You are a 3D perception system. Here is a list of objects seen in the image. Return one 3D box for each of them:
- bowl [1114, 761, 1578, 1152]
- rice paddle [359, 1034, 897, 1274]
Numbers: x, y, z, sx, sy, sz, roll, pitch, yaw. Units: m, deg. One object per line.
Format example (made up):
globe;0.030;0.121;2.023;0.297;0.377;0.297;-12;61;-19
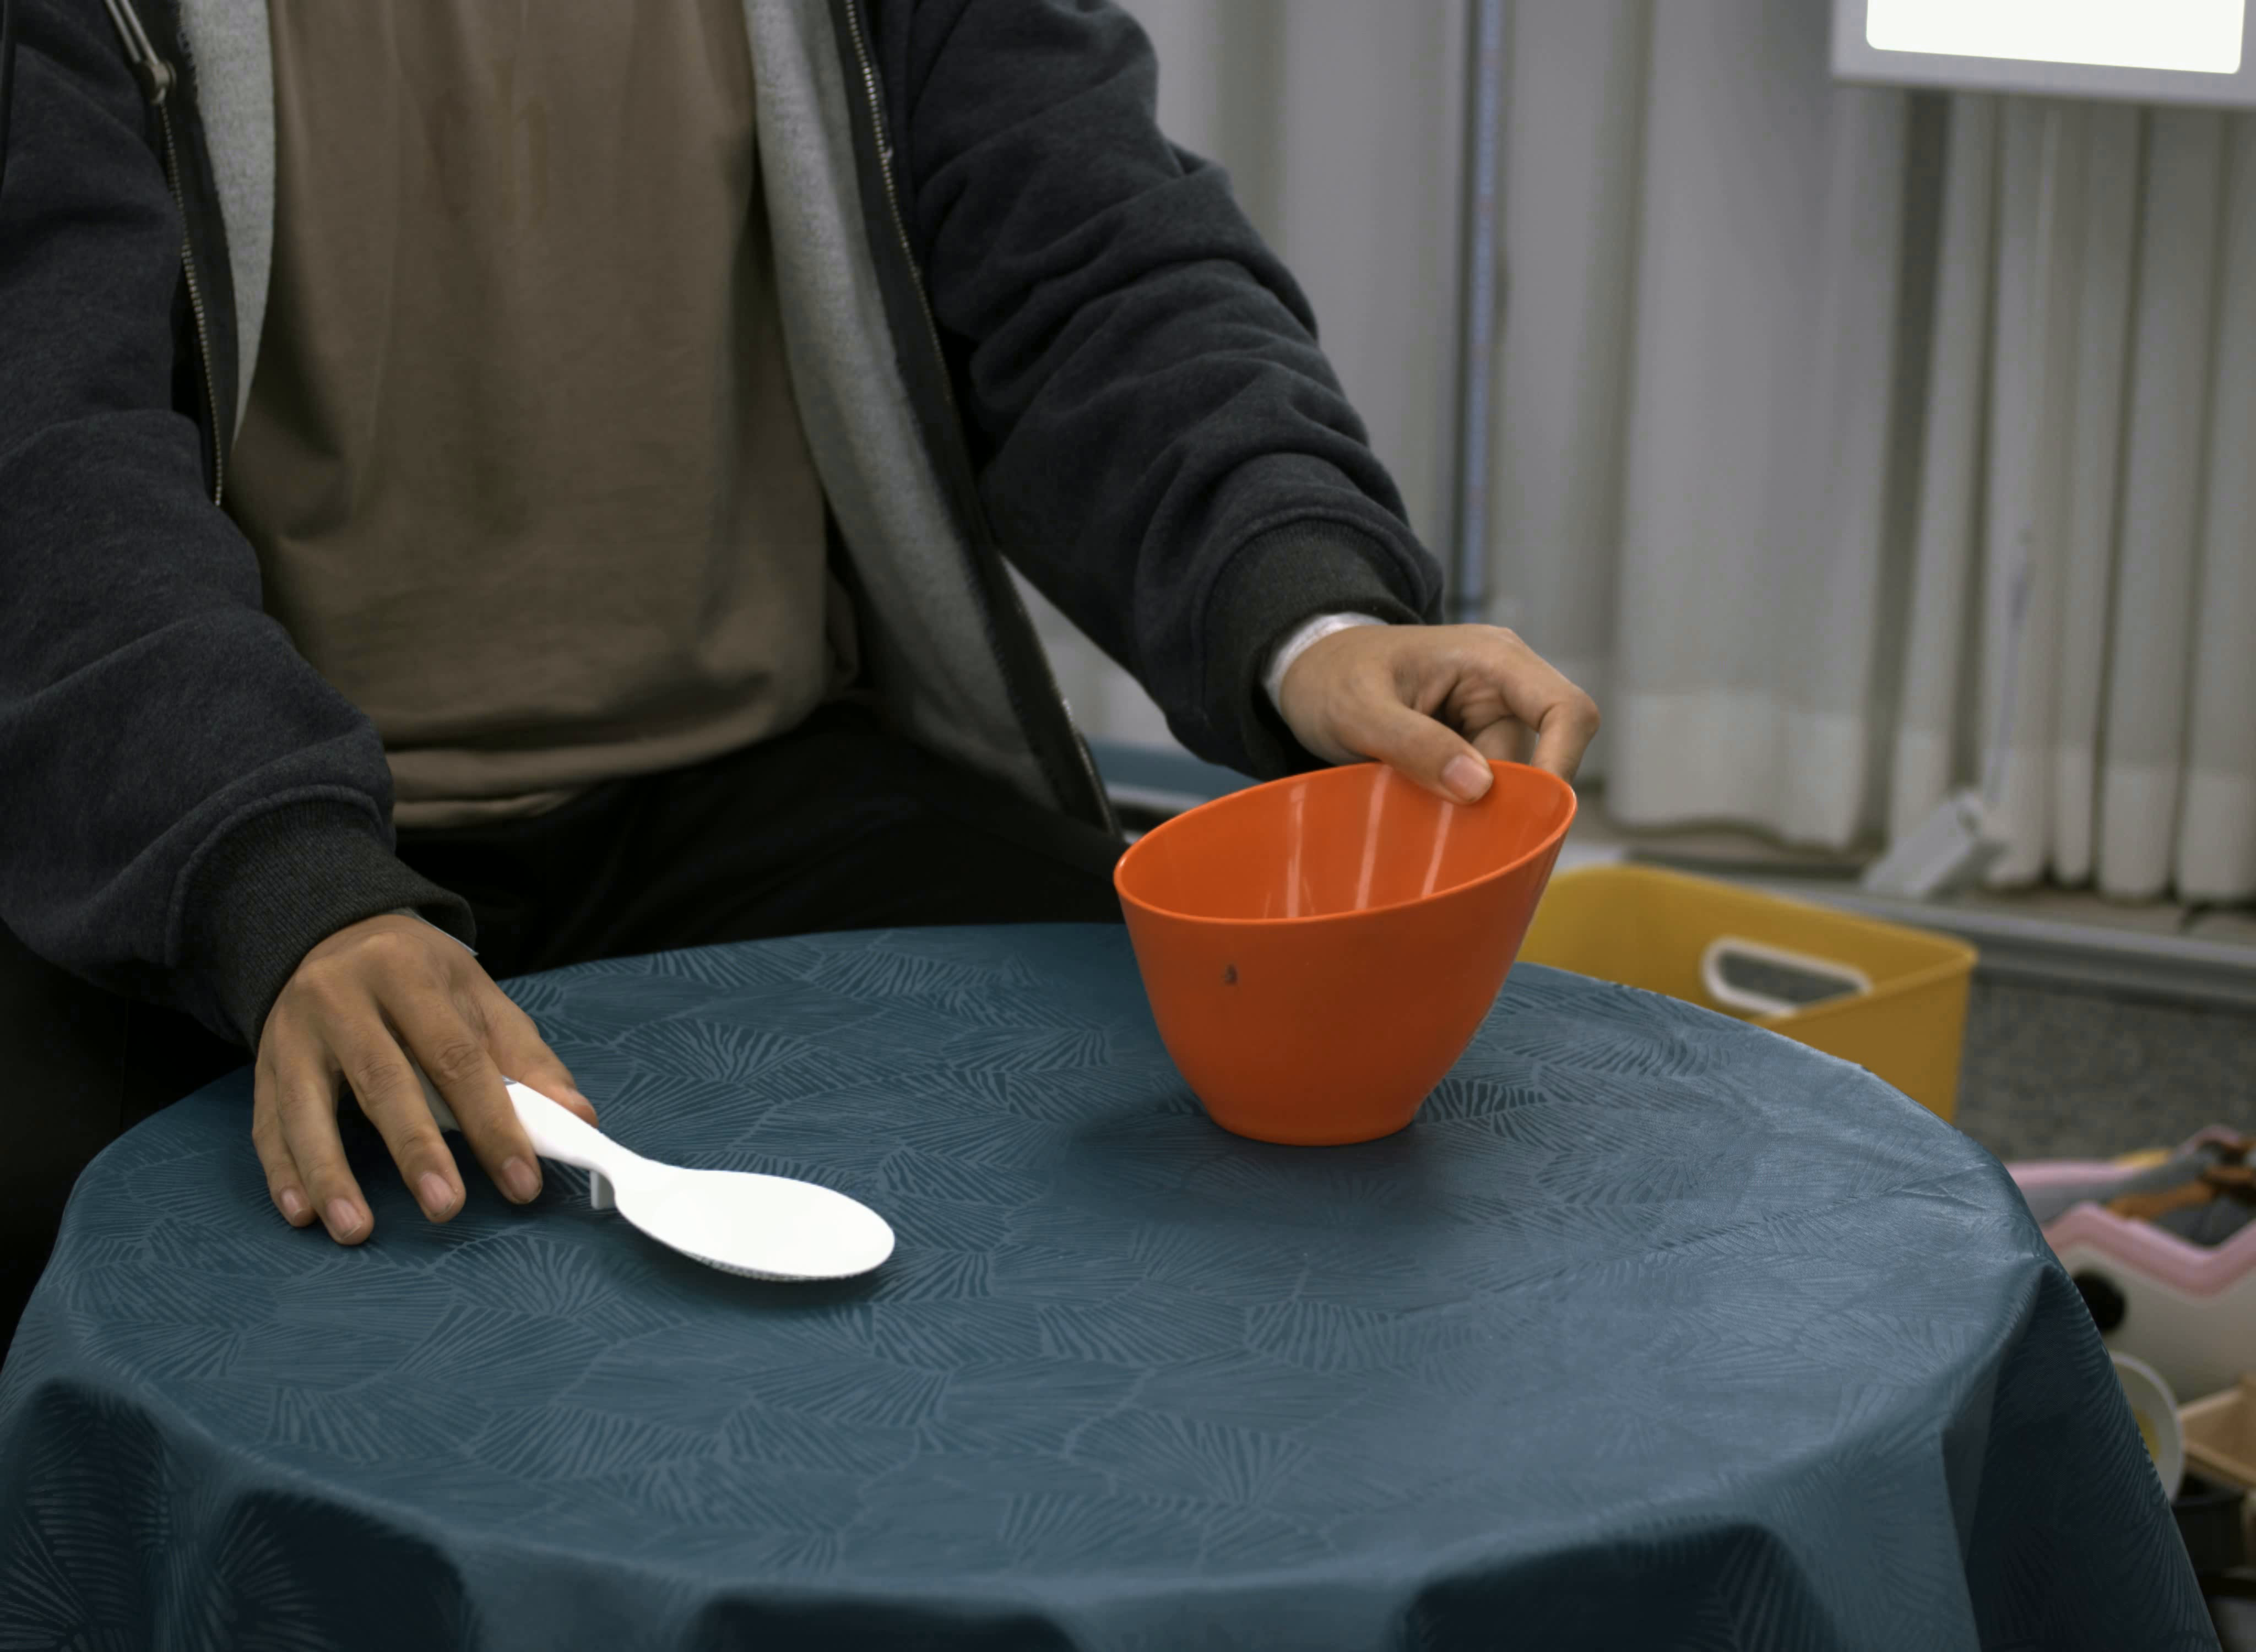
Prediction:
bowl;0.070;0.044;1.681;0.147;0.105;0.147;-1;17;1
rice paddle;-0.152;0.101;1.588;0.202;0.029;0.069;16;21;37
